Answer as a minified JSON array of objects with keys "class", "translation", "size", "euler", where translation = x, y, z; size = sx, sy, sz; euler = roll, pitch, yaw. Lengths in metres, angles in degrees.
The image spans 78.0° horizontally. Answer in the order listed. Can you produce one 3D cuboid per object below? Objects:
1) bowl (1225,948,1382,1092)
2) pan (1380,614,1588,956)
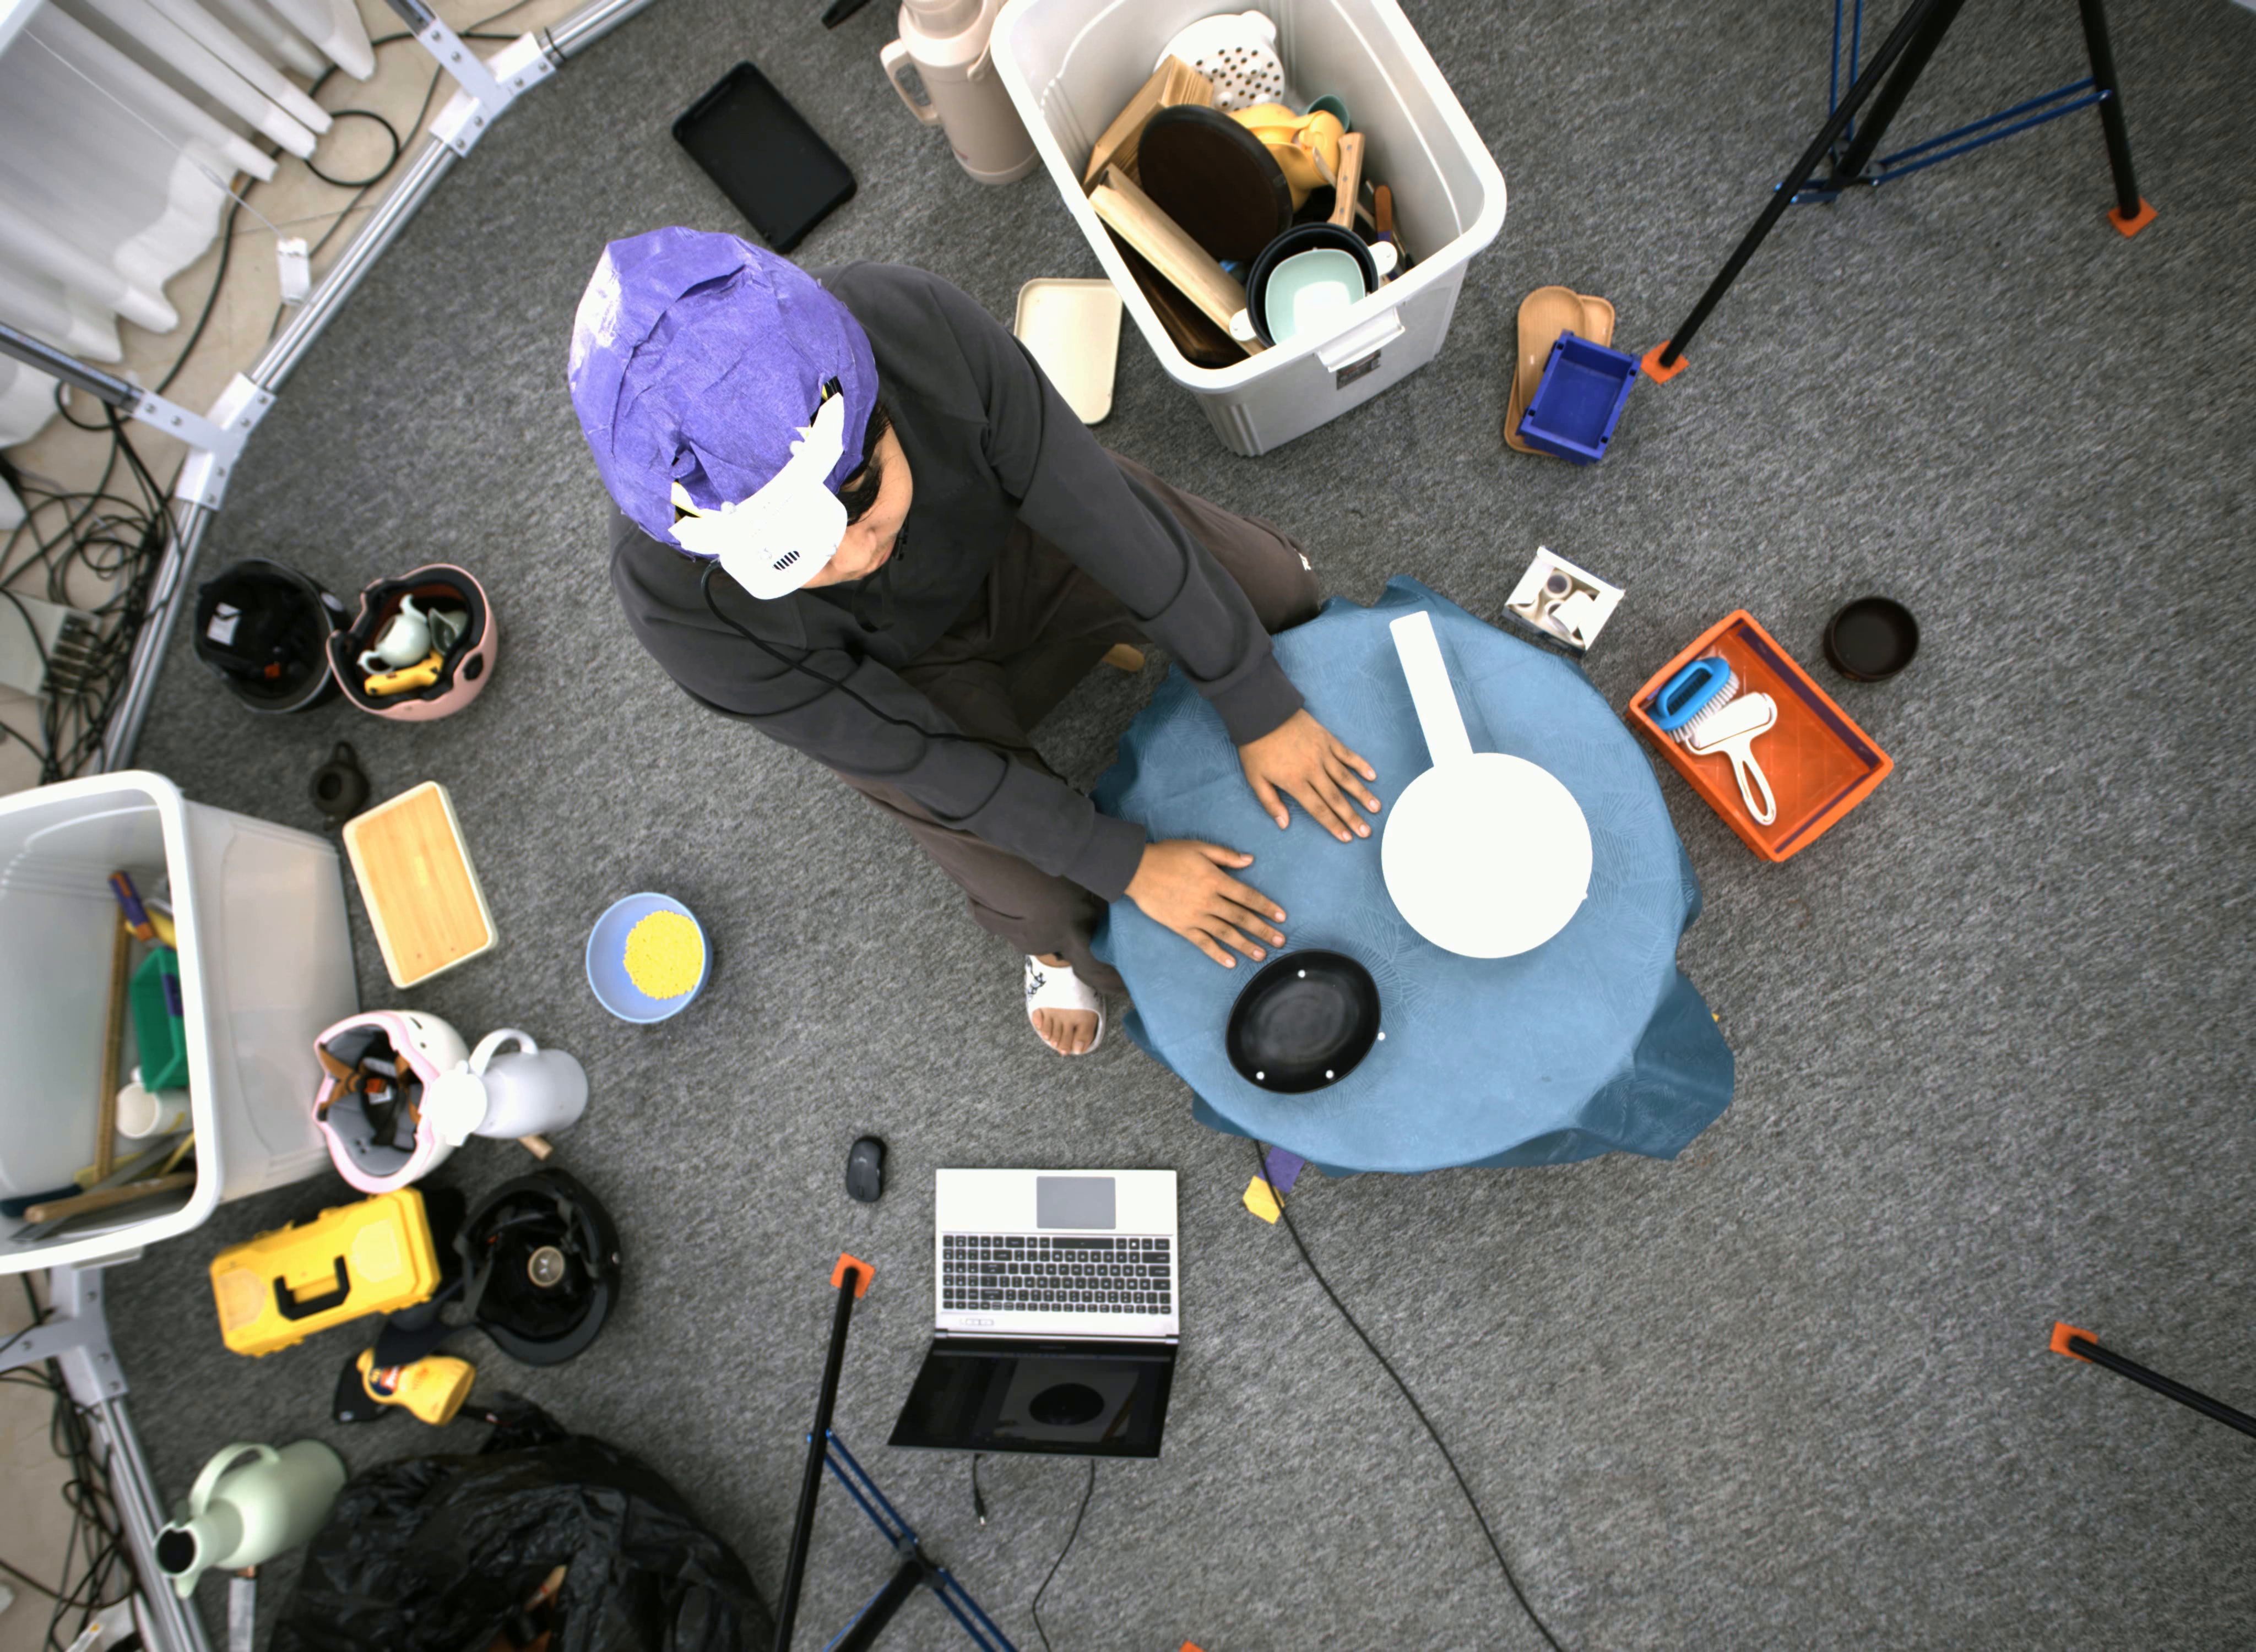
[{"class":"bowl","translation":[0.183,0.201,1.437],"size":[0.171,0.066,0.136],"euler":[-36,80,8]},{"class":"pan","translation":[0.340,-0.041,1.412],"size":[0.203,0.102,0.352],"euler":[-18,81,13]}]
